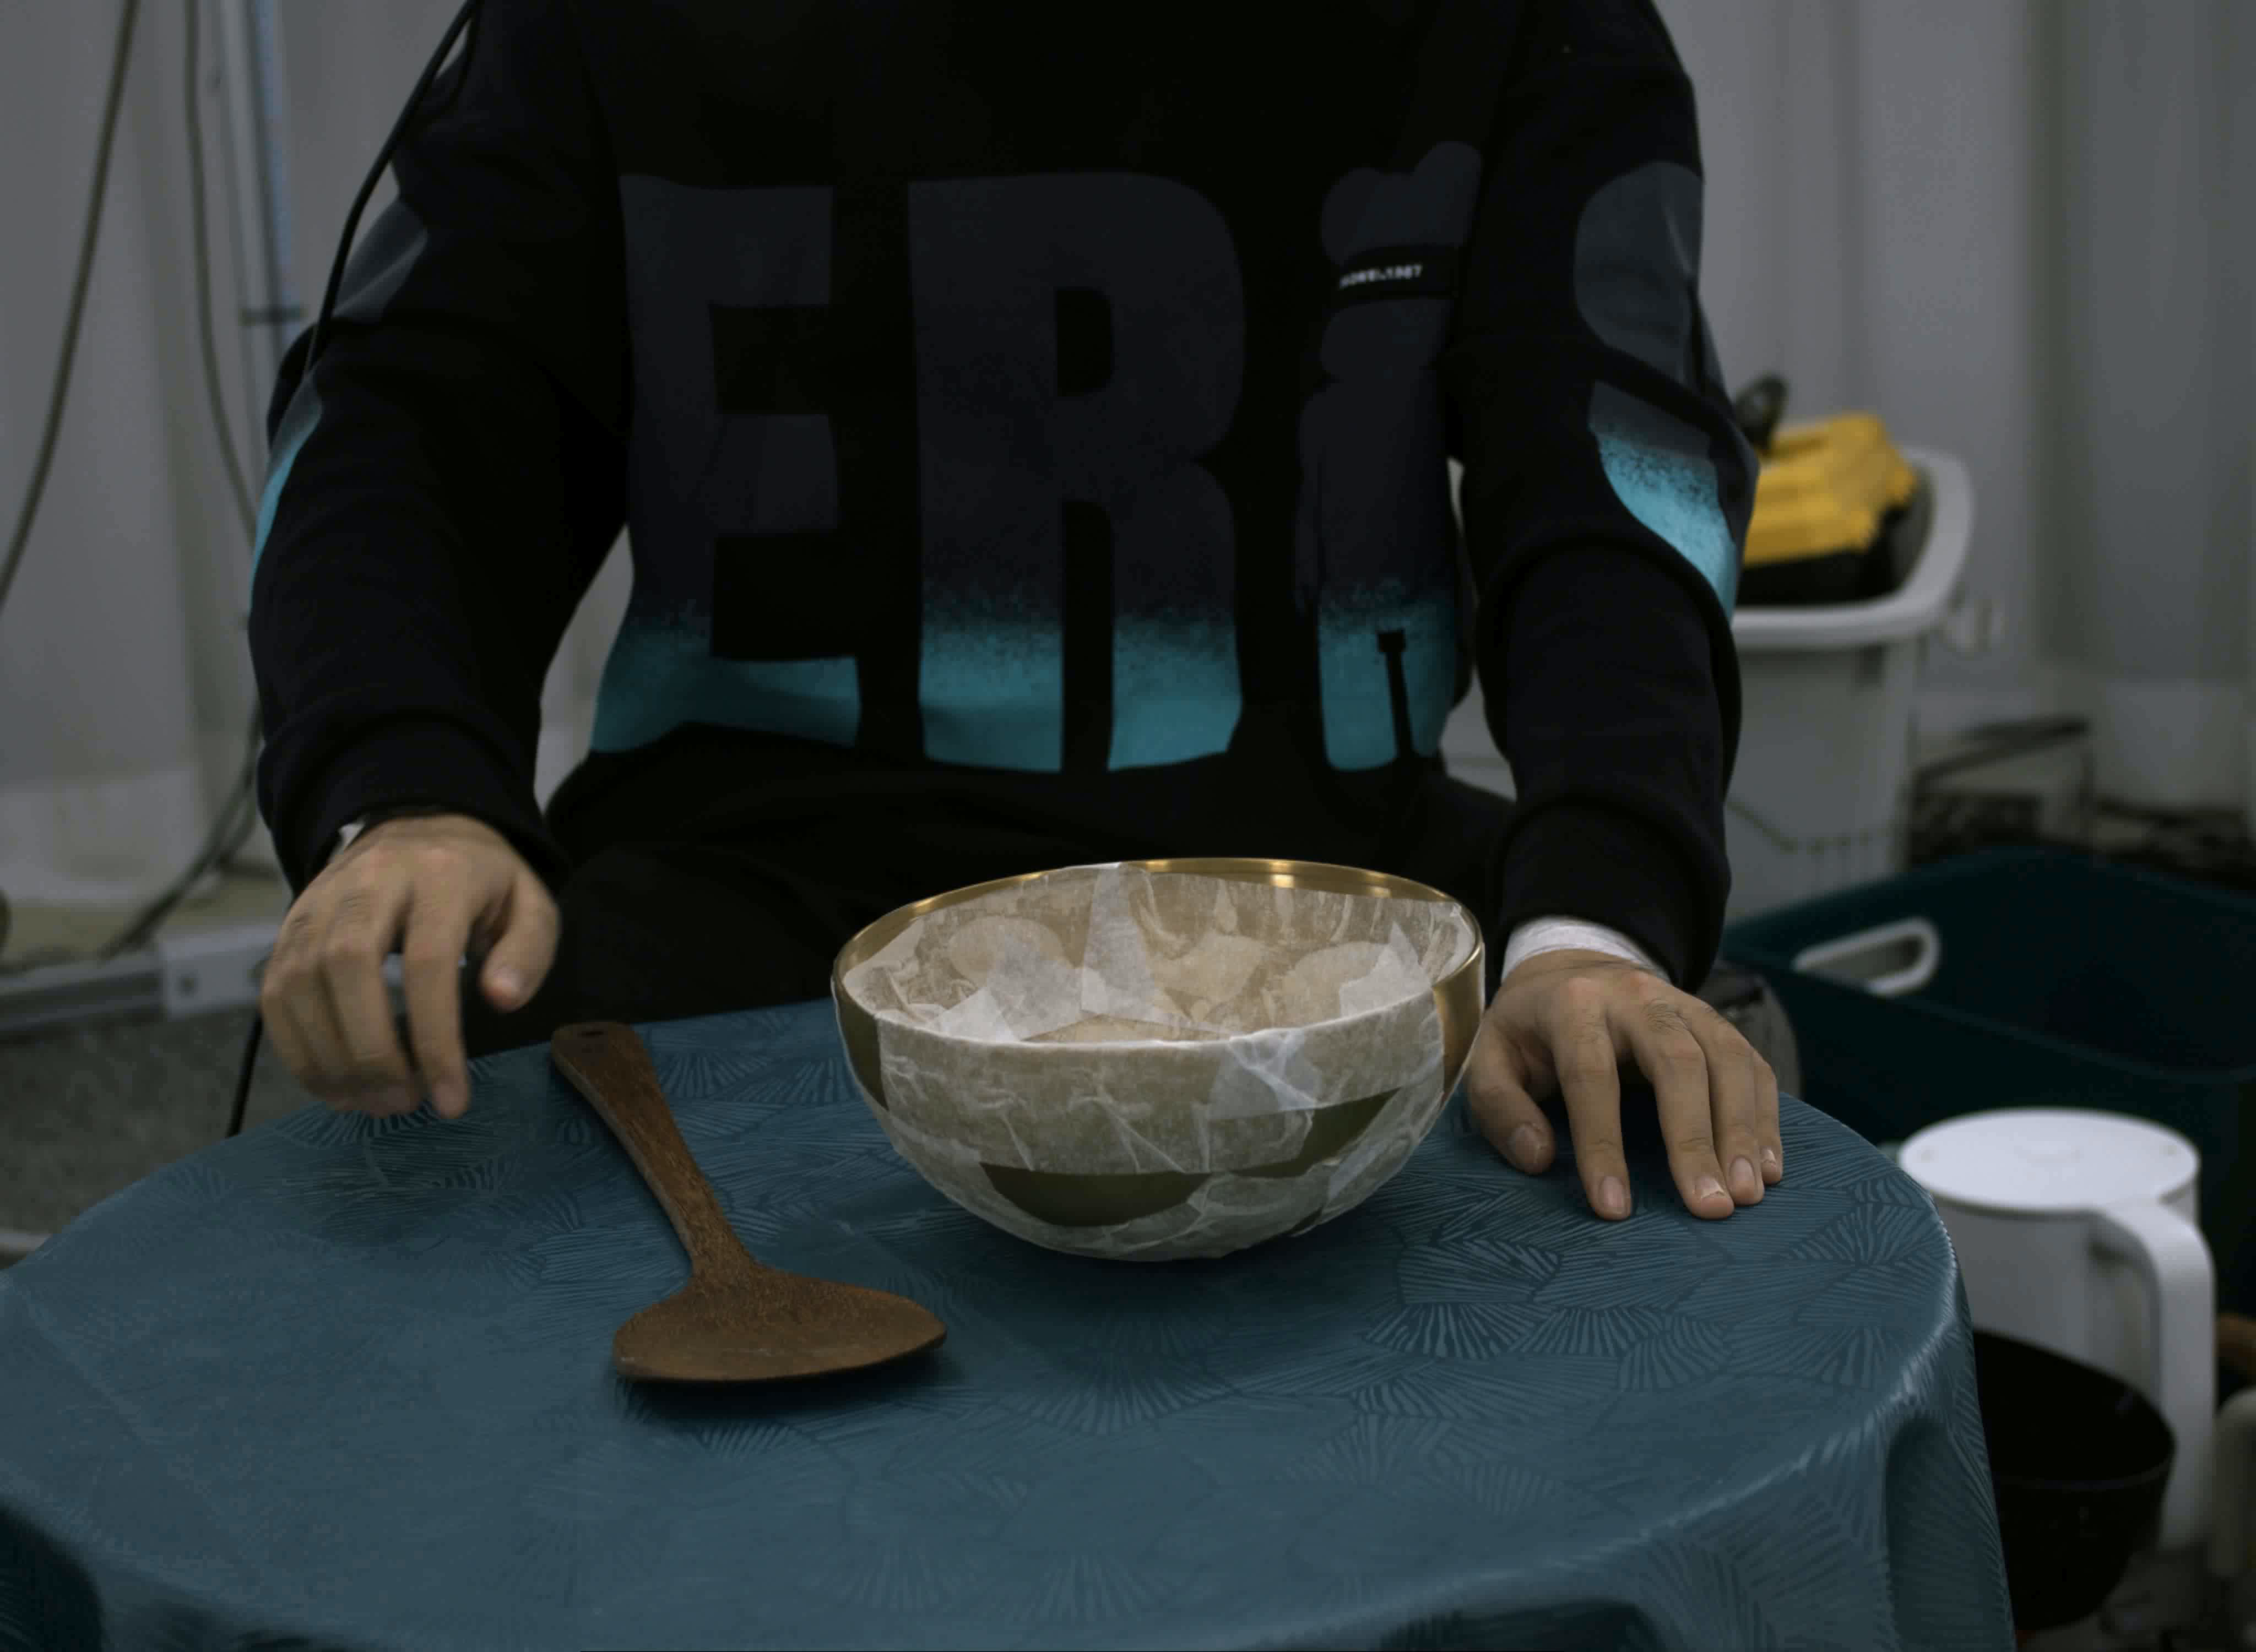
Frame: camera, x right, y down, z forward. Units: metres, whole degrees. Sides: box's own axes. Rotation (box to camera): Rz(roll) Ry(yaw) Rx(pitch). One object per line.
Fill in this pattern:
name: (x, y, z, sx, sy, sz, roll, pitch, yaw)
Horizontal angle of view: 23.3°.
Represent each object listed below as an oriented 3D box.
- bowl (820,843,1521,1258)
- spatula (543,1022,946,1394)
bowl: (0.014, 0.077, 1.671, 0.214, 0.094, 0.216, -4, 14, 1)
spatula: (-0.141, 0.114, 1.718, 0.095, 0.016, 0.389, -6, 15, -14)
